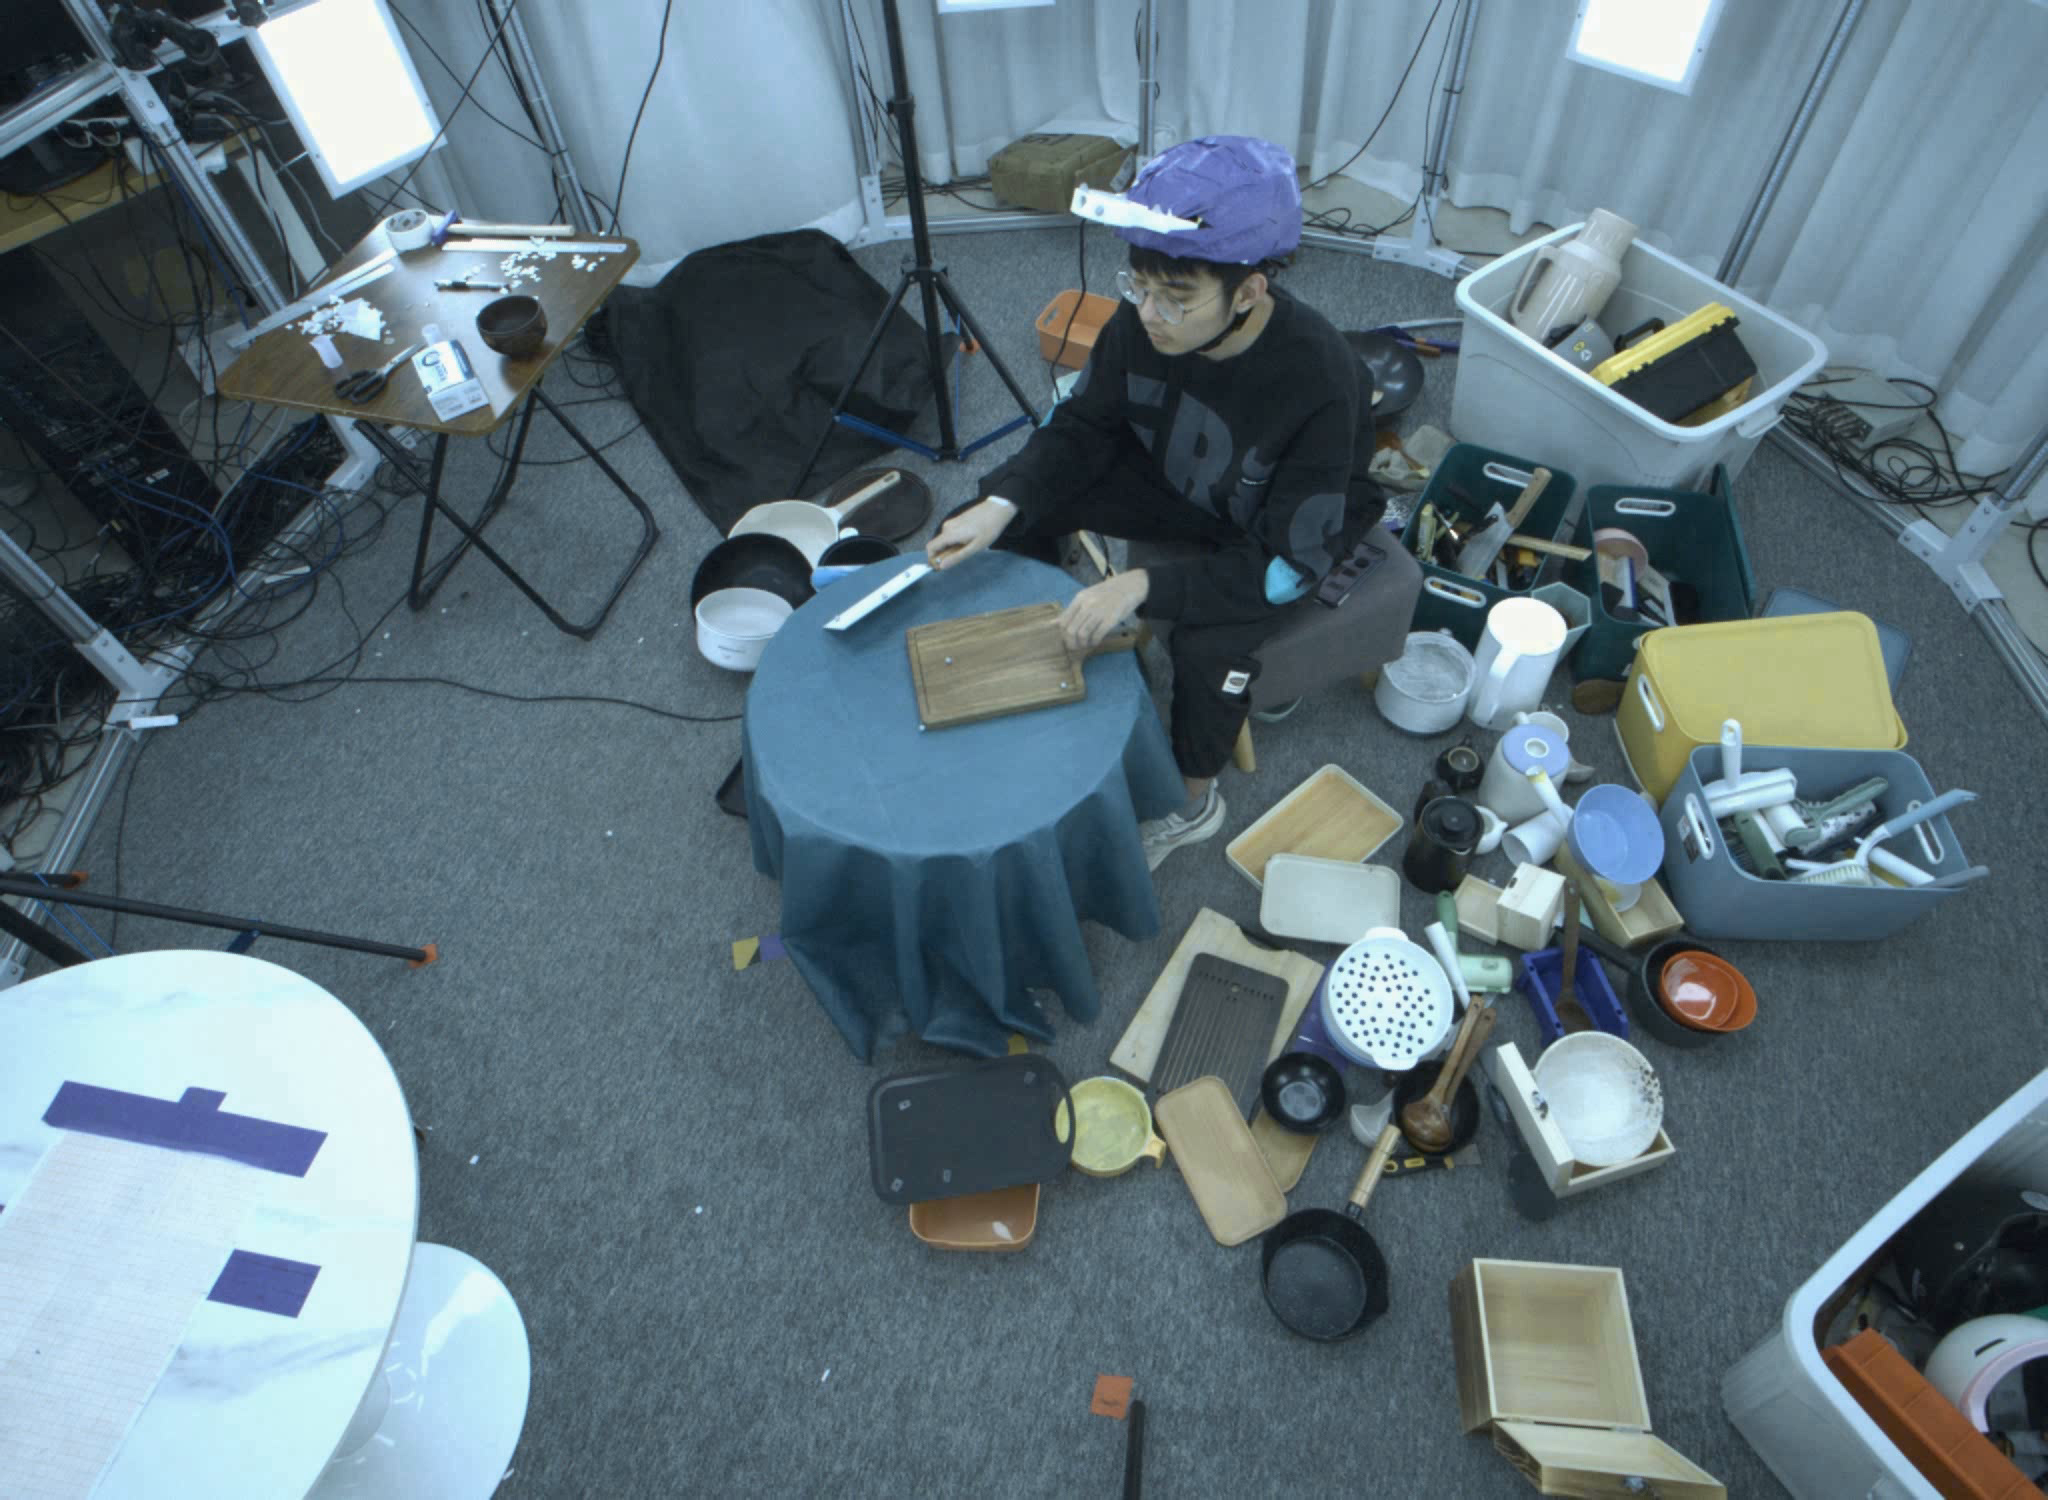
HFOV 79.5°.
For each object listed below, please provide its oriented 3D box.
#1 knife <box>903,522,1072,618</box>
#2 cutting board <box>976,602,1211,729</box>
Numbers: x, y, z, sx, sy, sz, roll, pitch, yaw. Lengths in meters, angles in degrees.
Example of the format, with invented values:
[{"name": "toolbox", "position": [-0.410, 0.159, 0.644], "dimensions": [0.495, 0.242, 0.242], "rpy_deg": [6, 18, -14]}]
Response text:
[{"name": "knife", "position": [-0.061, -0.286, 1.947], "dimensions": [0.308, 0.021, 0.091], "rpy_deg": [-34, 21, -21]}, {"name": "cutting board", "position": [0.111, -0.138, 1.867], "dimensions": [0.353, 0.023, 0.198], "rpy_deg": [-8, 55, -3]}]
